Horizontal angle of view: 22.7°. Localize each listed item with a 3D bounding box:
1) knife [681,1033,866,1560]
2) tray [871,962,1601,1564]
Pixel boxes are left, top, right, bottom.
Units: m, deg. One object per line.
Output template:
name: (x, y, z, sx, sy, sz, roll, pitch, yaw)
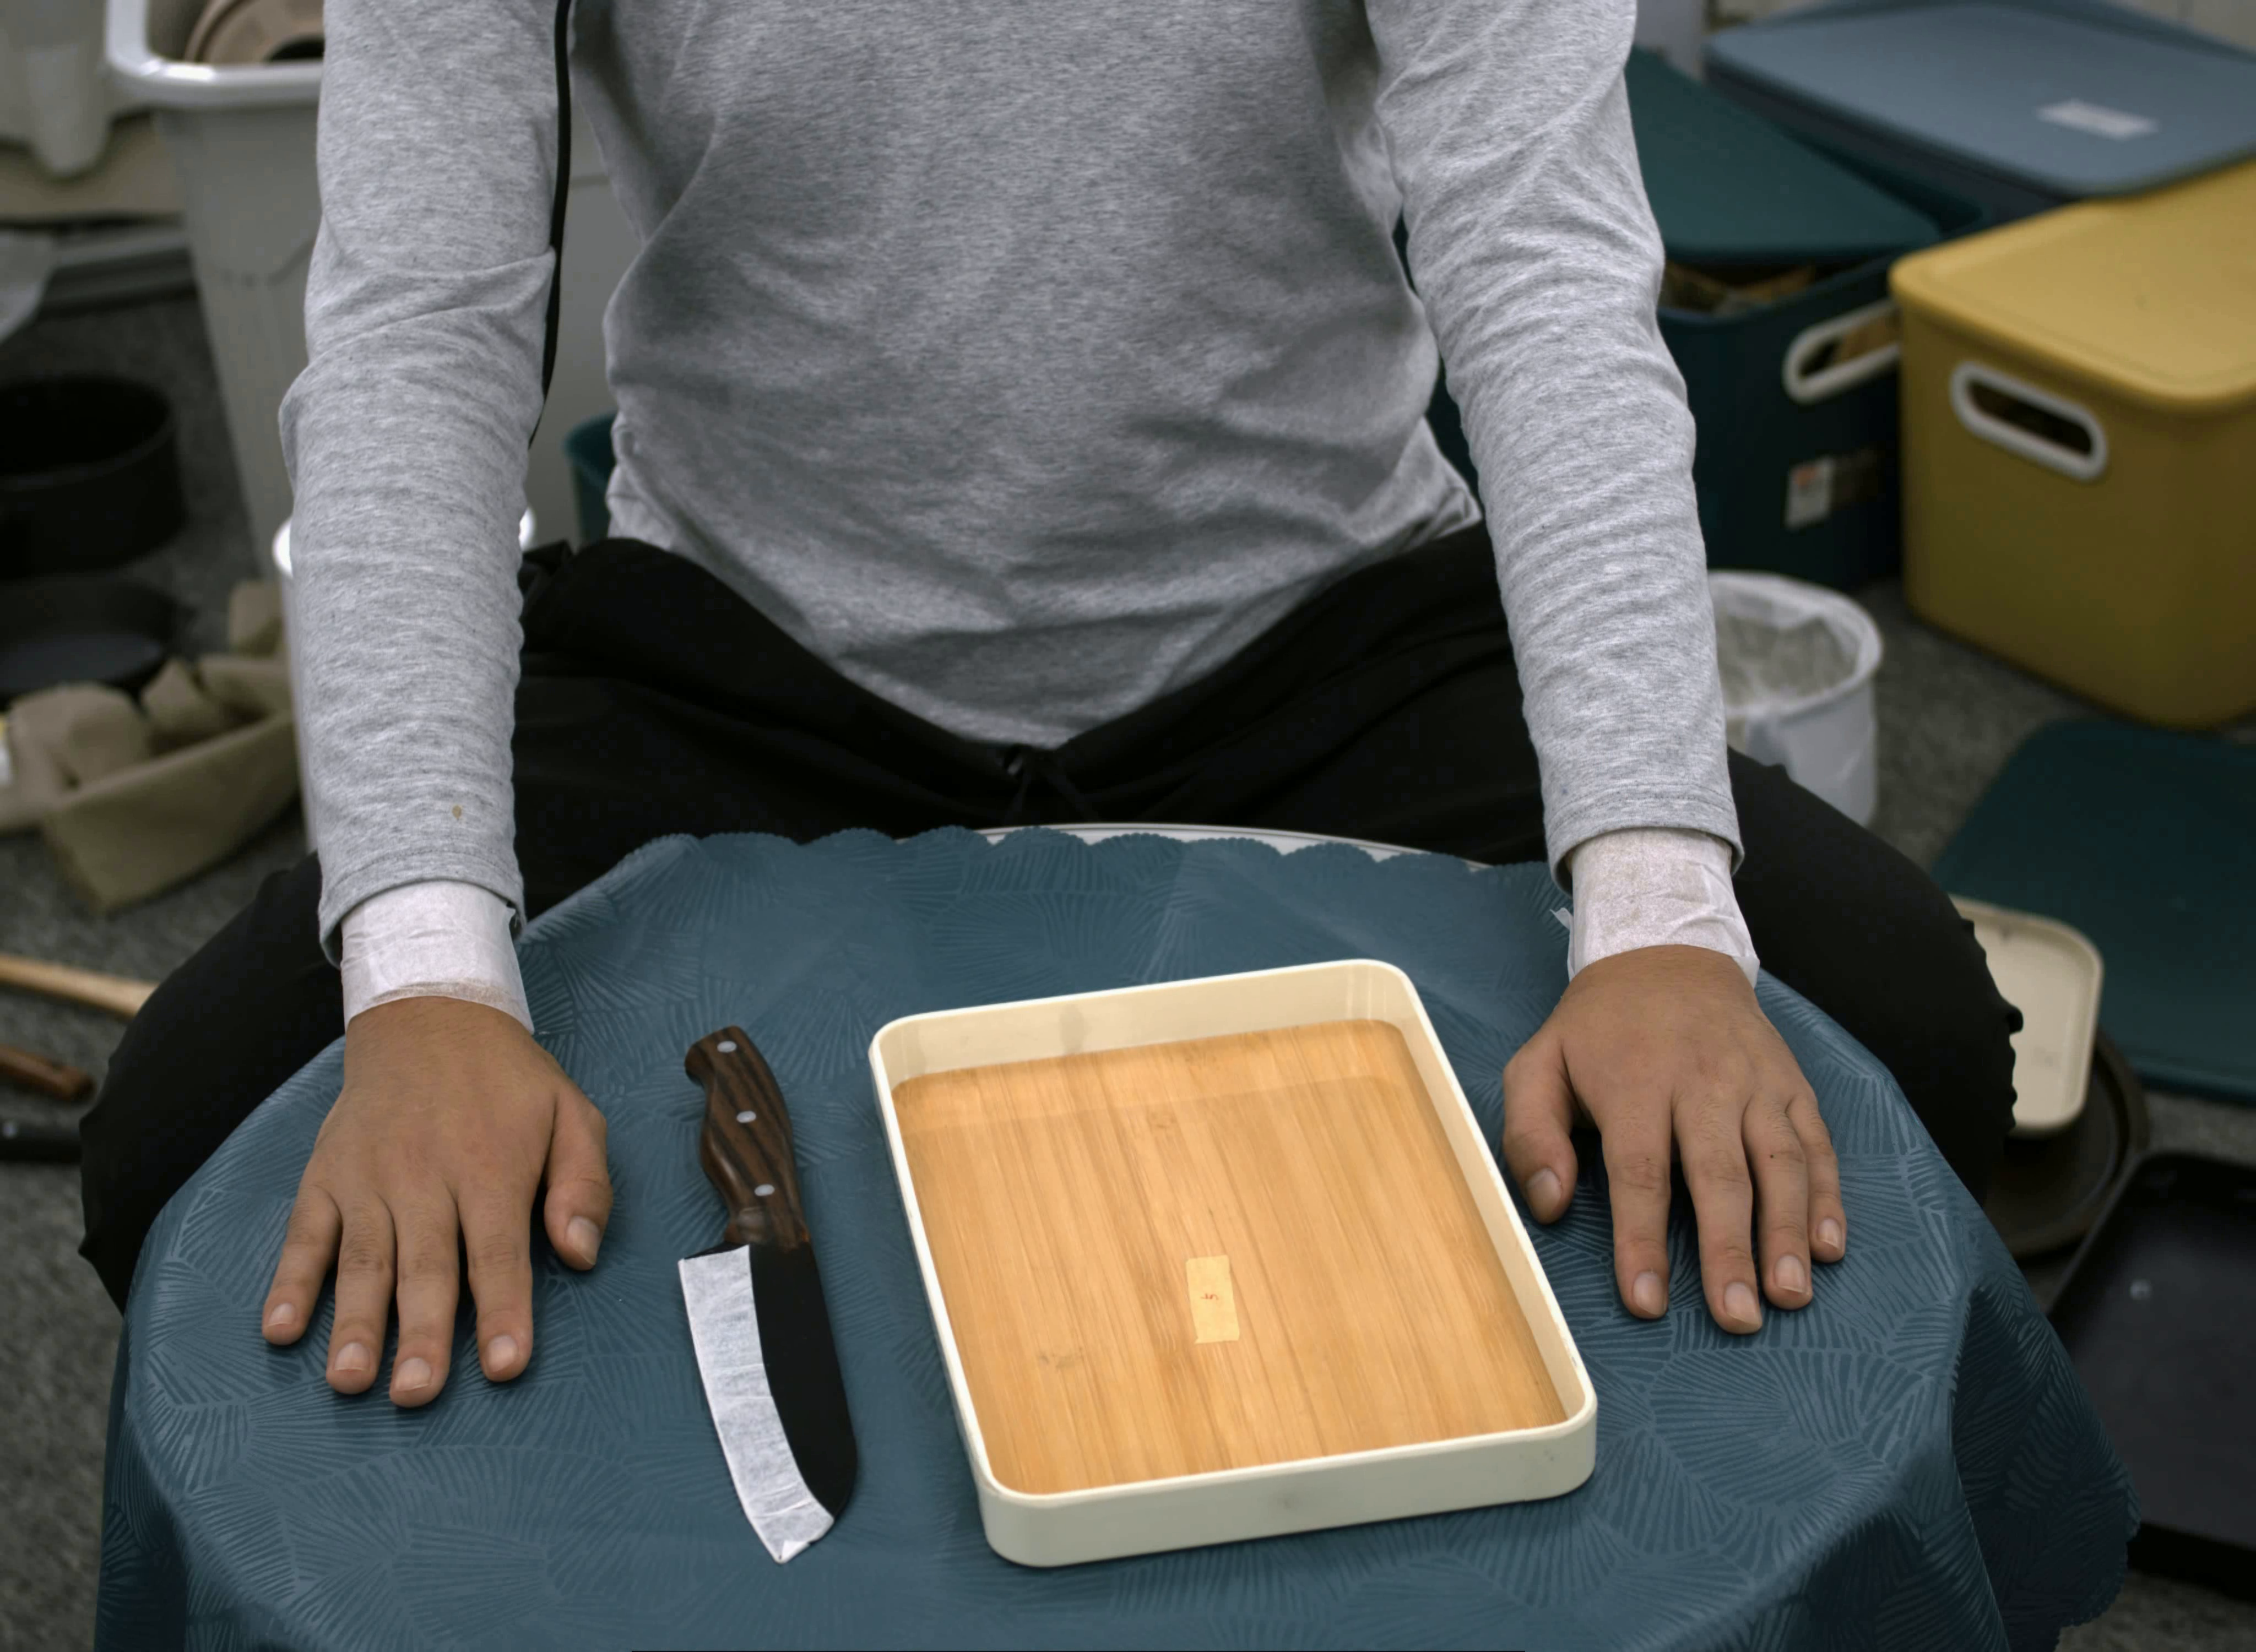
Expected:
knife: (-0.119, 0.149, 1.804, 0.050, 0.020, 0.293, -10, 30, -3)
tray: (0.028, 0.134, 1.806, 0.191, 0.027, 0.304, -7, 27, -7)
